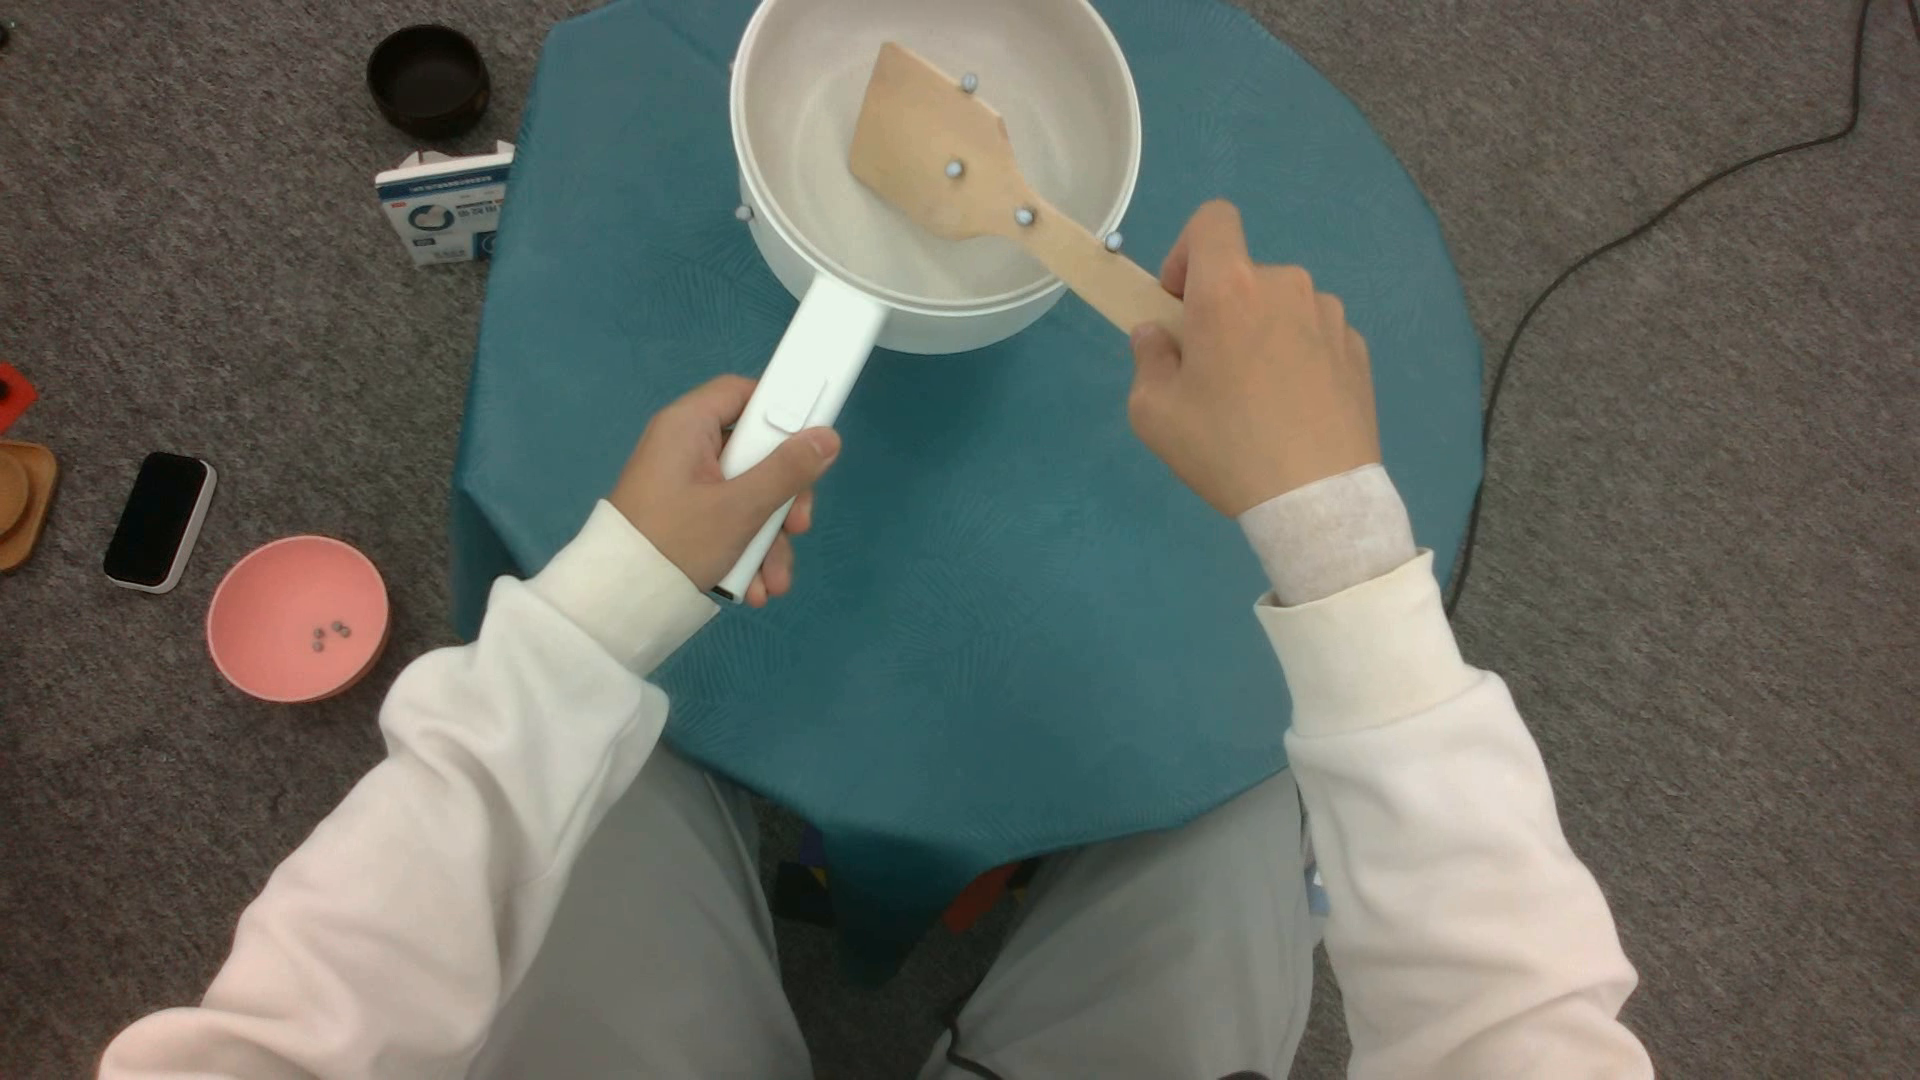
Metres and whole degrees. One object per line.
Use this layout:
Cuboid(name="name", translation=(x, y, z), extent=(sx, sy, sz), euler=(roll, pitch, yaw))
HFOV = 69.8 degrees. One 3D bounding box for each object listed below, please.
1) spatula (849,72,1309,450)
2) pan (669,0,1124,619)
Cuboid(name="spatula", translation=(0.048, -0.130, 0.644), extent=(0.011, 0.072, 0.293), euler=(-13, 44, -45))
Cuboid(name="pan", translation=(-0.051, -0.123, 0.712), extent=(0.201, 0.102, 0.355), euler=(24, 77, -4))
